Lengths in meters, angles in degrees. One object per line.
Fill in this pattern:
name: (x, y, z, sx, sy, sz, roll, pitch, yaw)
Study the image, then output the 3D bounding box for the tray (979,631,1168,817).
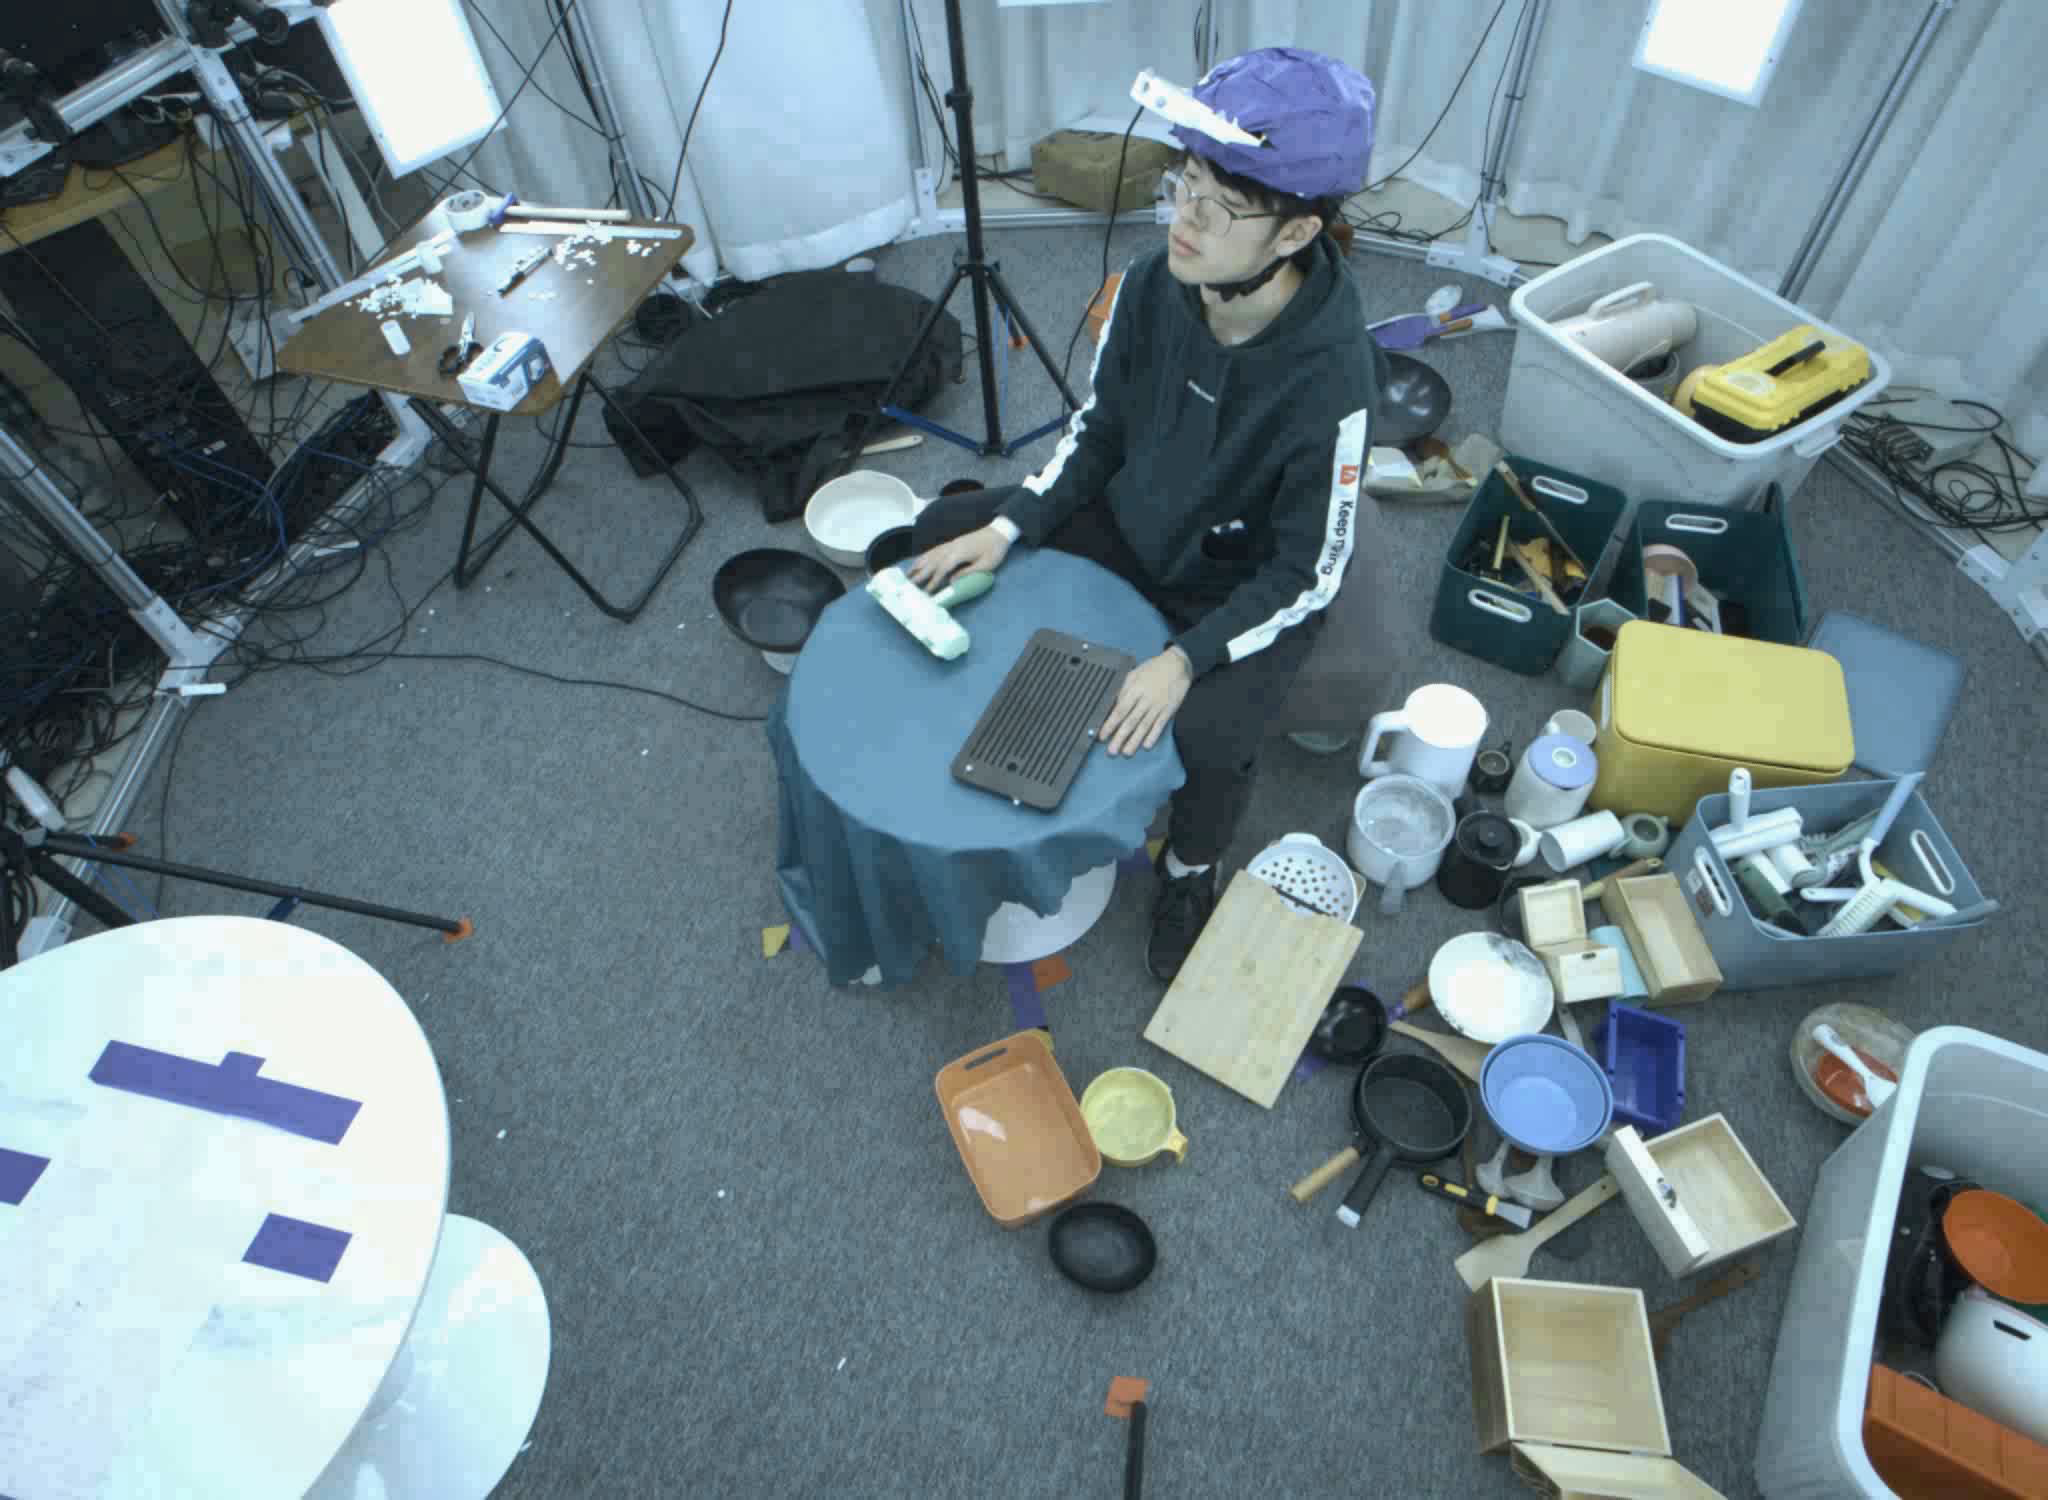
tray: (0.076, -0.042, 1.799, 0.168, 0.019, 0.306, 22, 58, 17)

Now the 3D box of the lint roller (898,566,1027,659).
lint roller: (-0.073, -0.248, 1.912, 0.184, 0.083, 0.195, -35, 60, -17)
